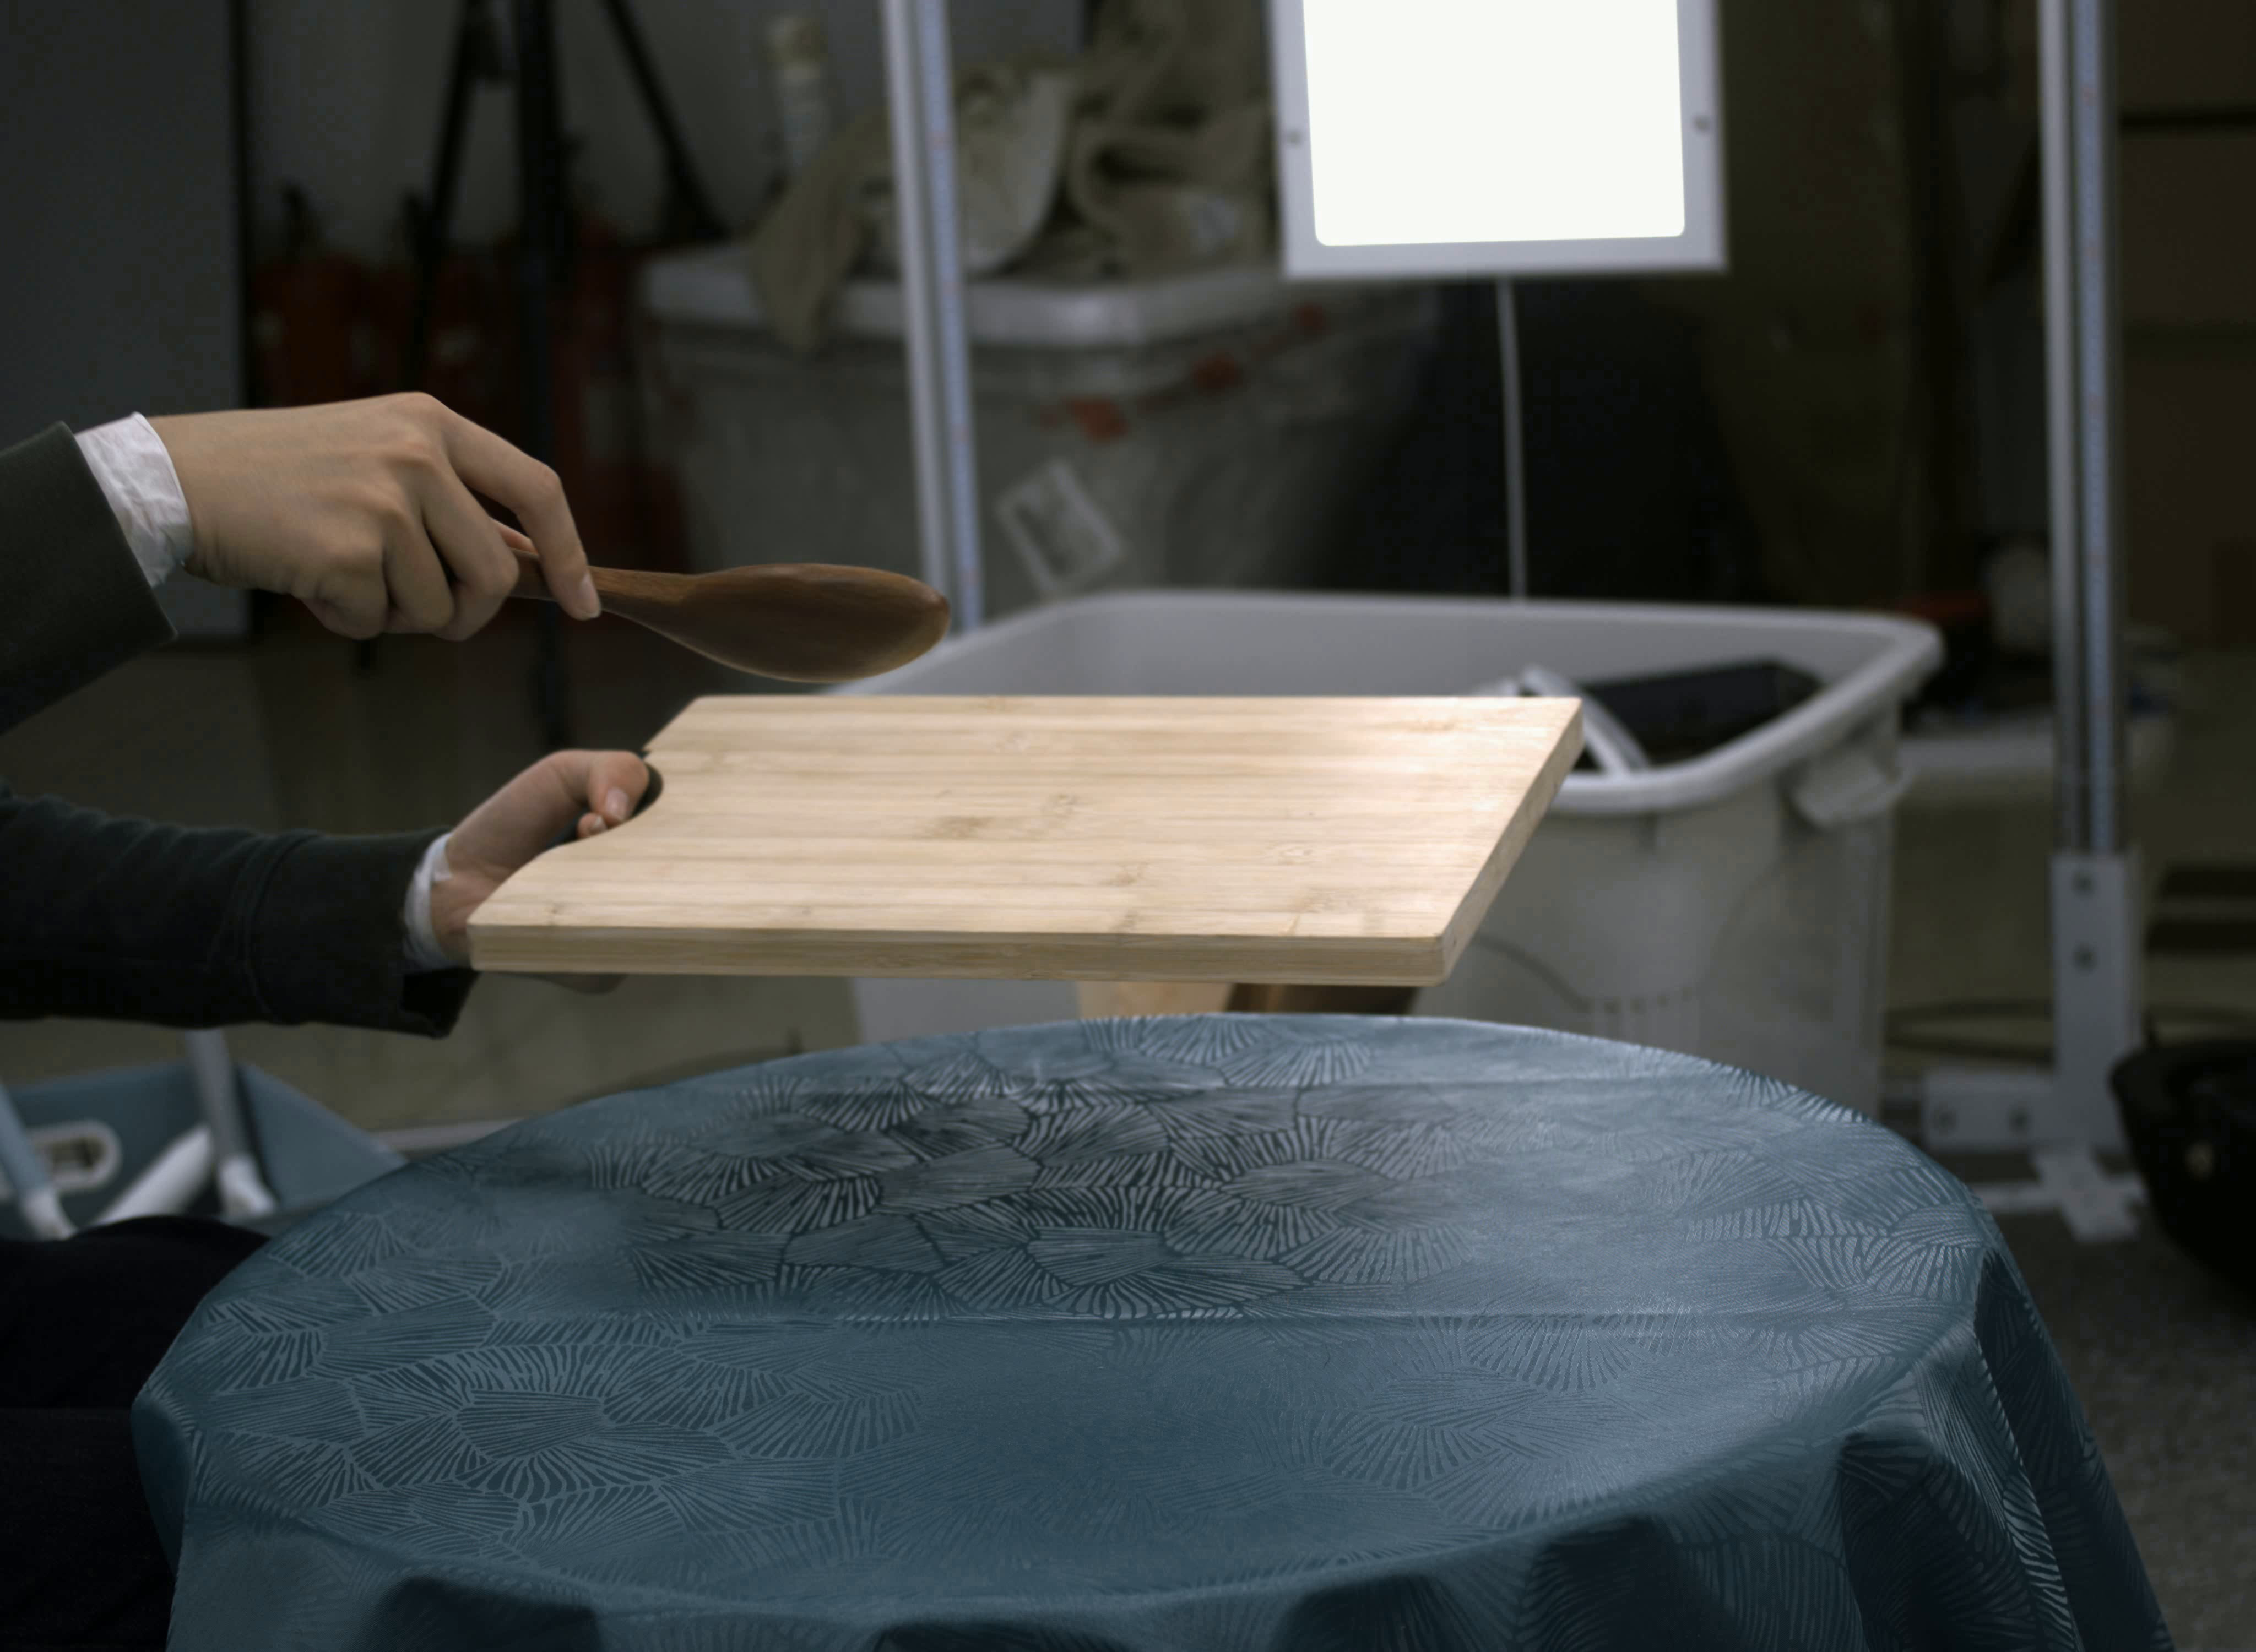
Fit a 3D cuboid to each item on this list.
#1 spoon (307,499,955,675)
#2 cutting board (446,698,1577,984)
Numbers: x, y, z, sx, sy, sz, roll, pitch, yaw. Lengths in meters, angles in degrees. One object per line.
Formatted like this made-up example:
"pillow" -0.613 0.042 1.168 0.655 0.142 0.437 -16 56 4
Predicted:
"spoon" -0.151 -0.072 1.693 0.211 0.017 0.077 10 -21 -28
"cutting board" -0.035 0.002 1.919 0.352 0.023 0.247 0 19 17
